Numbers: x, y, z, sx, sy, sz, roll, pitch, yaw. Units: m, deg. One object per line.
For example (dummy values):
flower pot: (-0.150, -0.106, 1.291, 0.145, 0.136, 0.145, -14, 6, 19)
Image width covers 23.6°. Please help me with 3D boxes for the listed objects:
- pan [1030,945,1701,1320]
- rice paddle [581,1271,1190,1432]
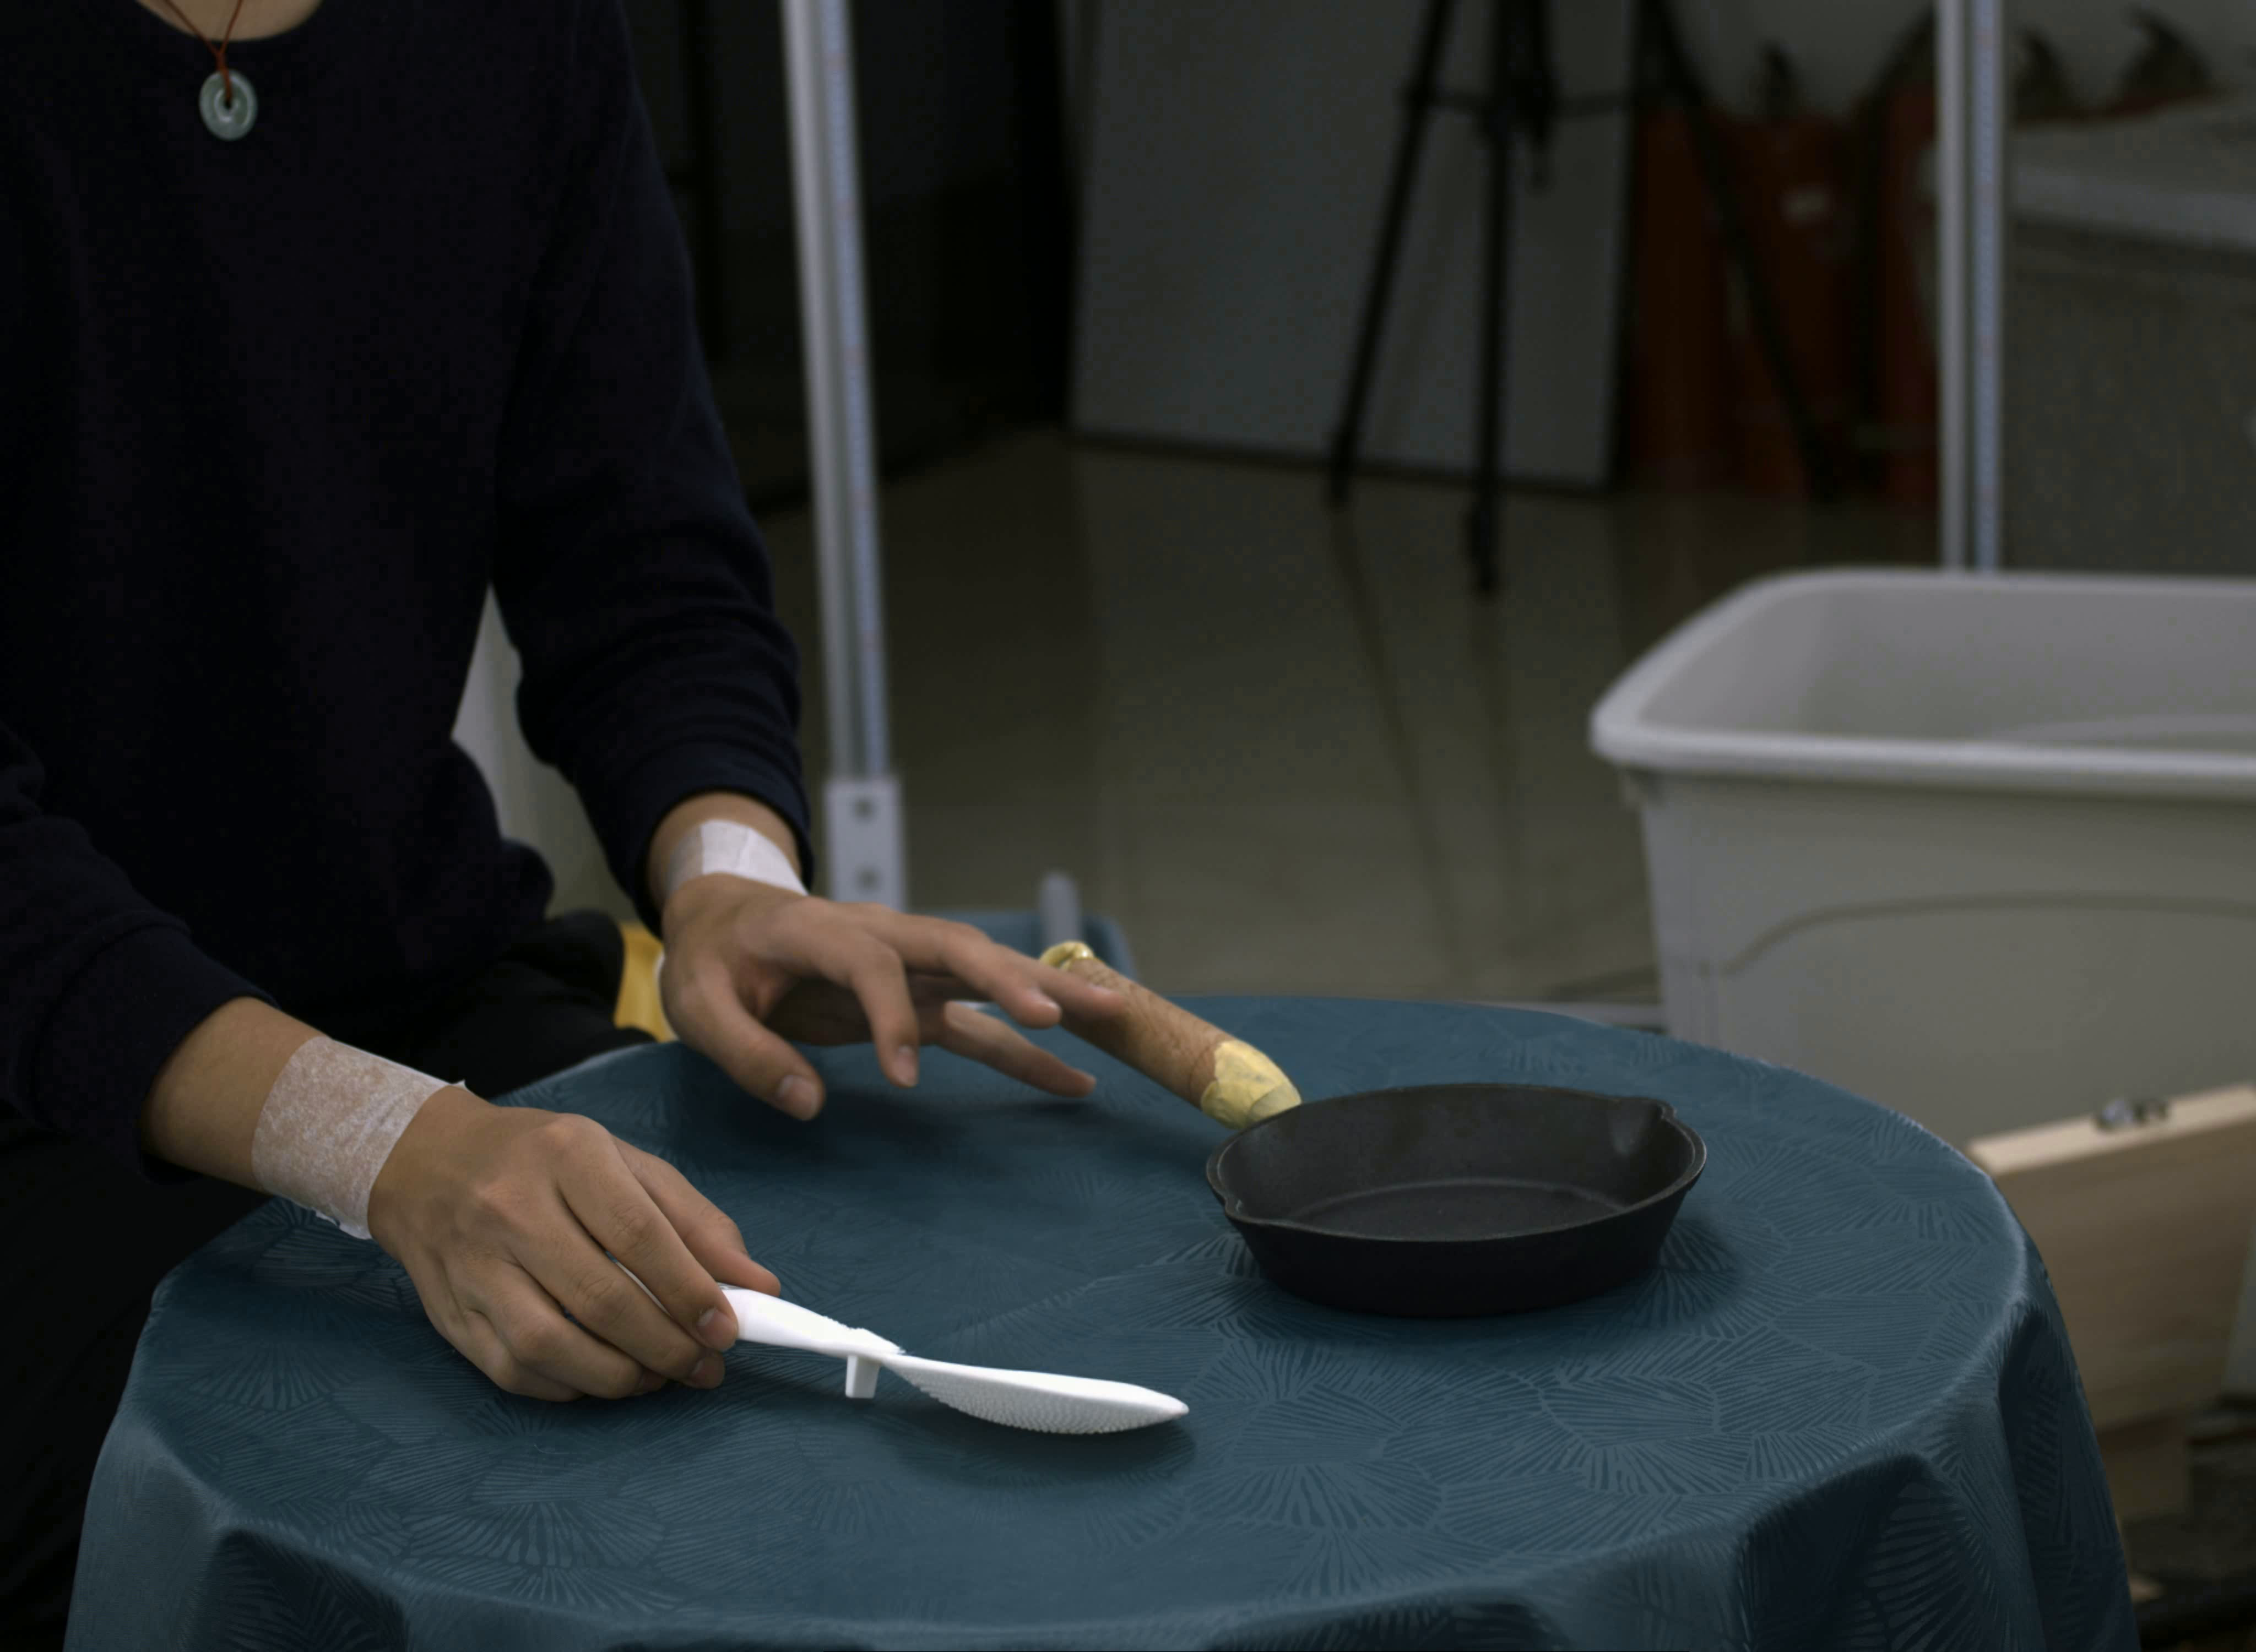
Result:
pan: (0.059, 0.095, 1.753, 0.165, 0.050, 0.328, -12, 17, -29)
rice paddle: (-0.071, 0.156, 1.585, 0.206, 0.030, 0.067, 4, -5, 33)
